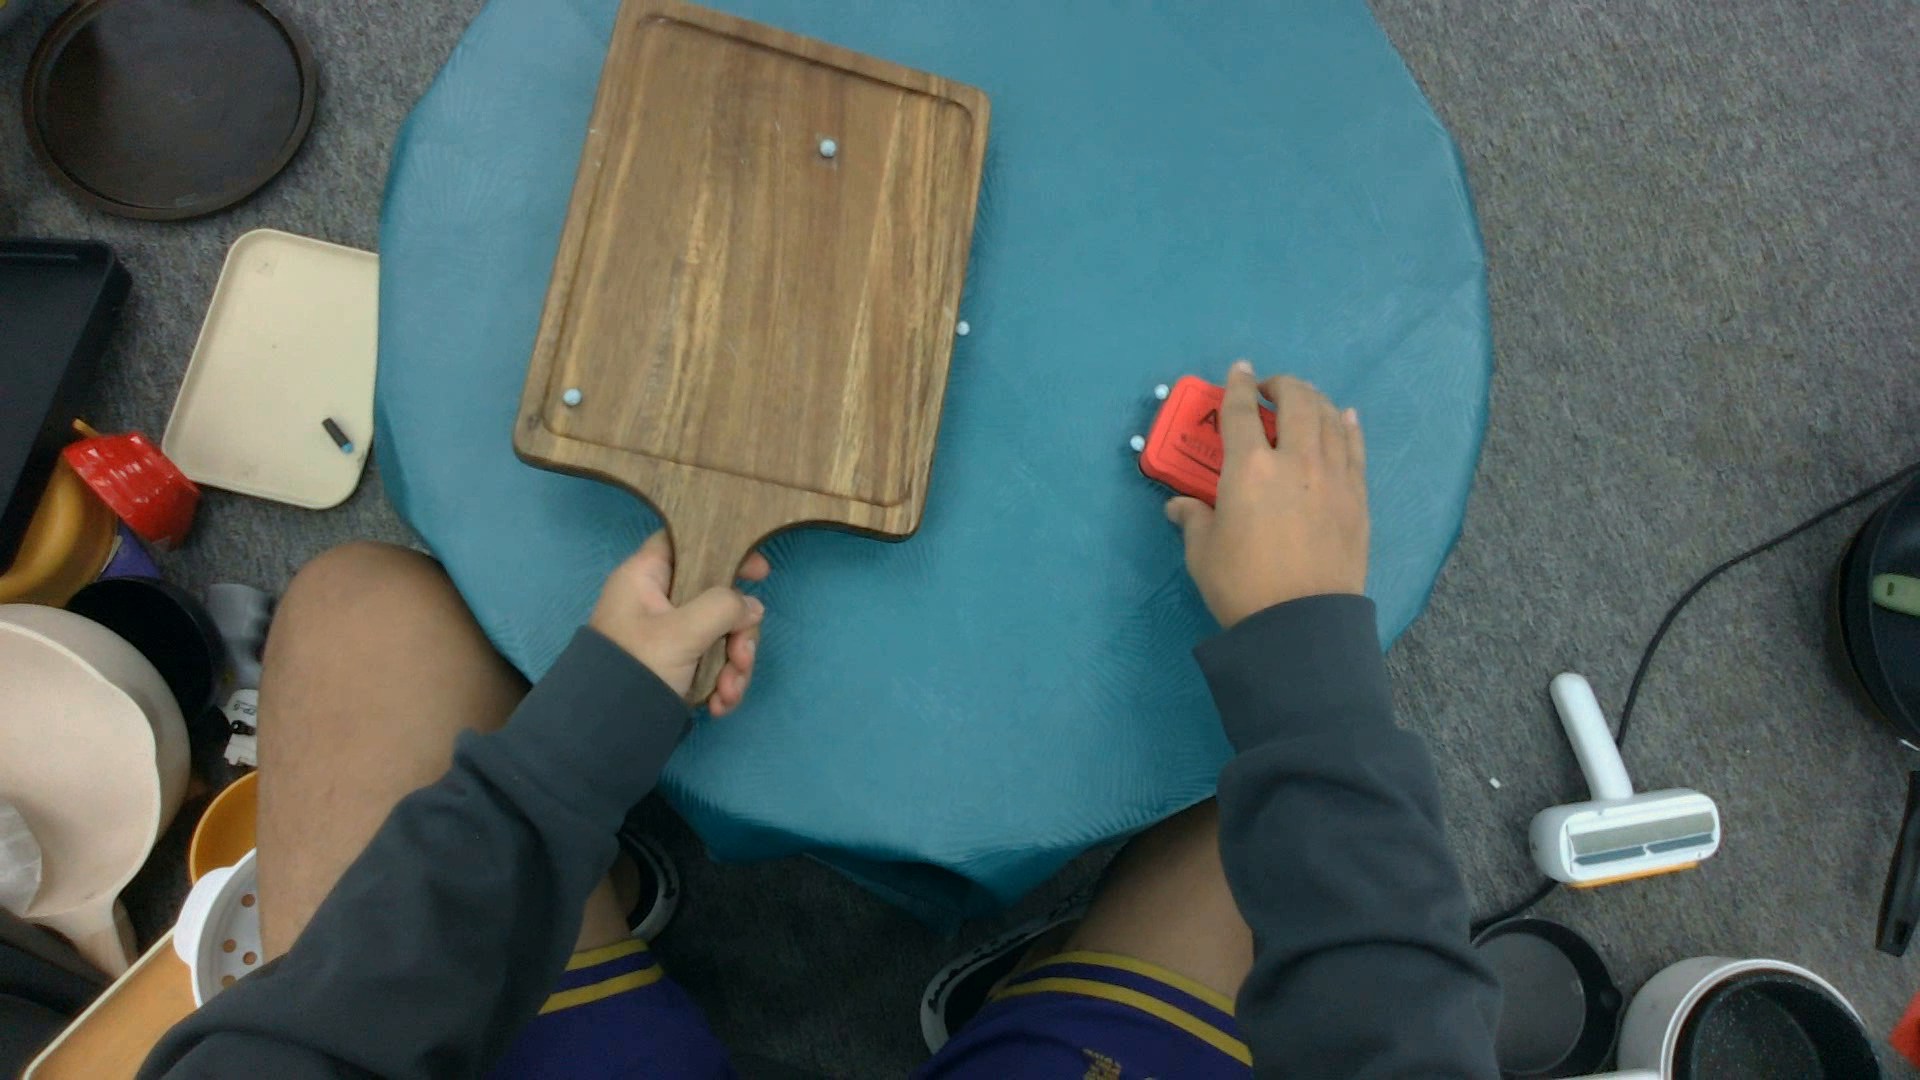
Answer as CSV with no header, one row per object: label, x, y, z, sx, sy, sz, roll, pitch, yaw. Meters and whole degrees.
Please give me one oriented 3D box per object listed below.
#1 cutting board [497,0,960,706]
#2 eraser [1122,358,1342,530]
cutting board,-0.113,-0.094,0.678,0.201,0.023,0.353,11,74,-13
eraser,0.144,-0.050,0.728,0.108,0.023,0.059,23,77,-4
